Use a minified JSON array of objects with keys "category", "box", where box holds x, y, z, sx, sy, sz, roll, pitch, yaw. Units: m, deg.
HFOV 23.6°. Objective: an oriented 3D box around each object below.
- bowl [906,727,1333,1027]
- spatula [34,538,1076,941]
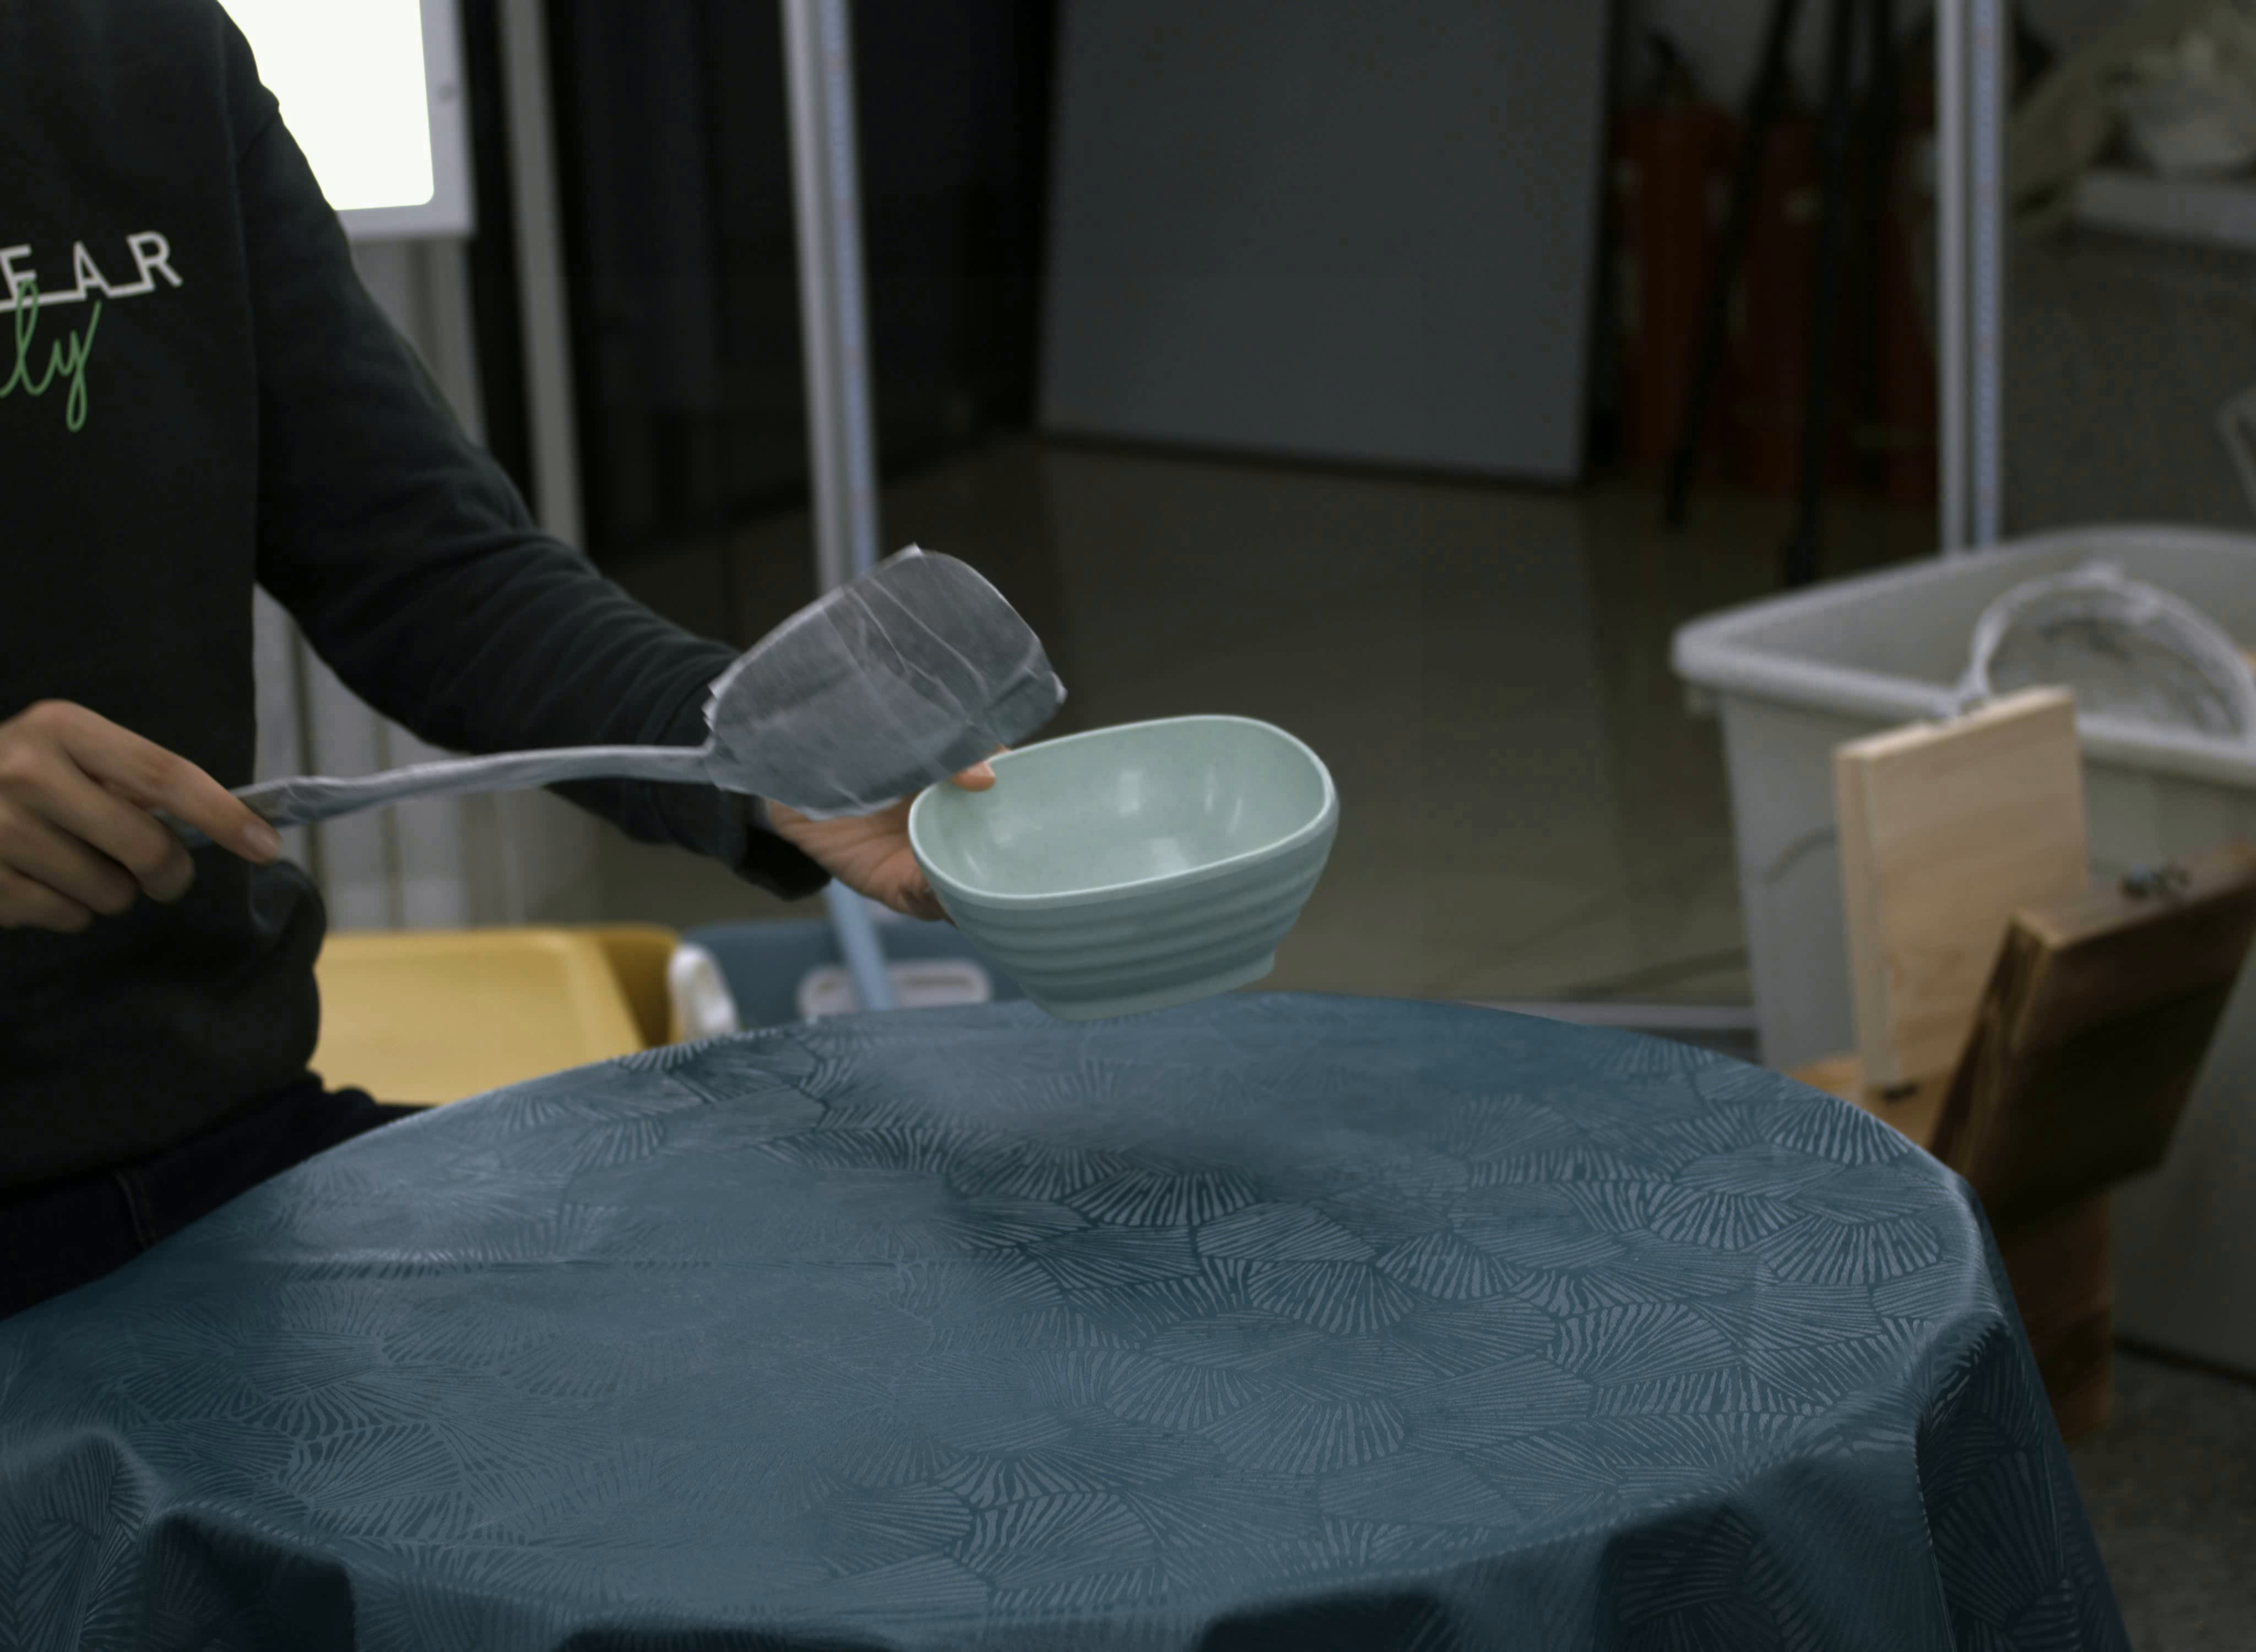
[{"category":"bowl","box":[0.000,0.021,1.769,0.149,0.059,0.152,-7,21,2]},{"category":"spatula","box":[-0.189,-0.017,1.653,0.365,0.045,0.097,-10,-33,25]}]
